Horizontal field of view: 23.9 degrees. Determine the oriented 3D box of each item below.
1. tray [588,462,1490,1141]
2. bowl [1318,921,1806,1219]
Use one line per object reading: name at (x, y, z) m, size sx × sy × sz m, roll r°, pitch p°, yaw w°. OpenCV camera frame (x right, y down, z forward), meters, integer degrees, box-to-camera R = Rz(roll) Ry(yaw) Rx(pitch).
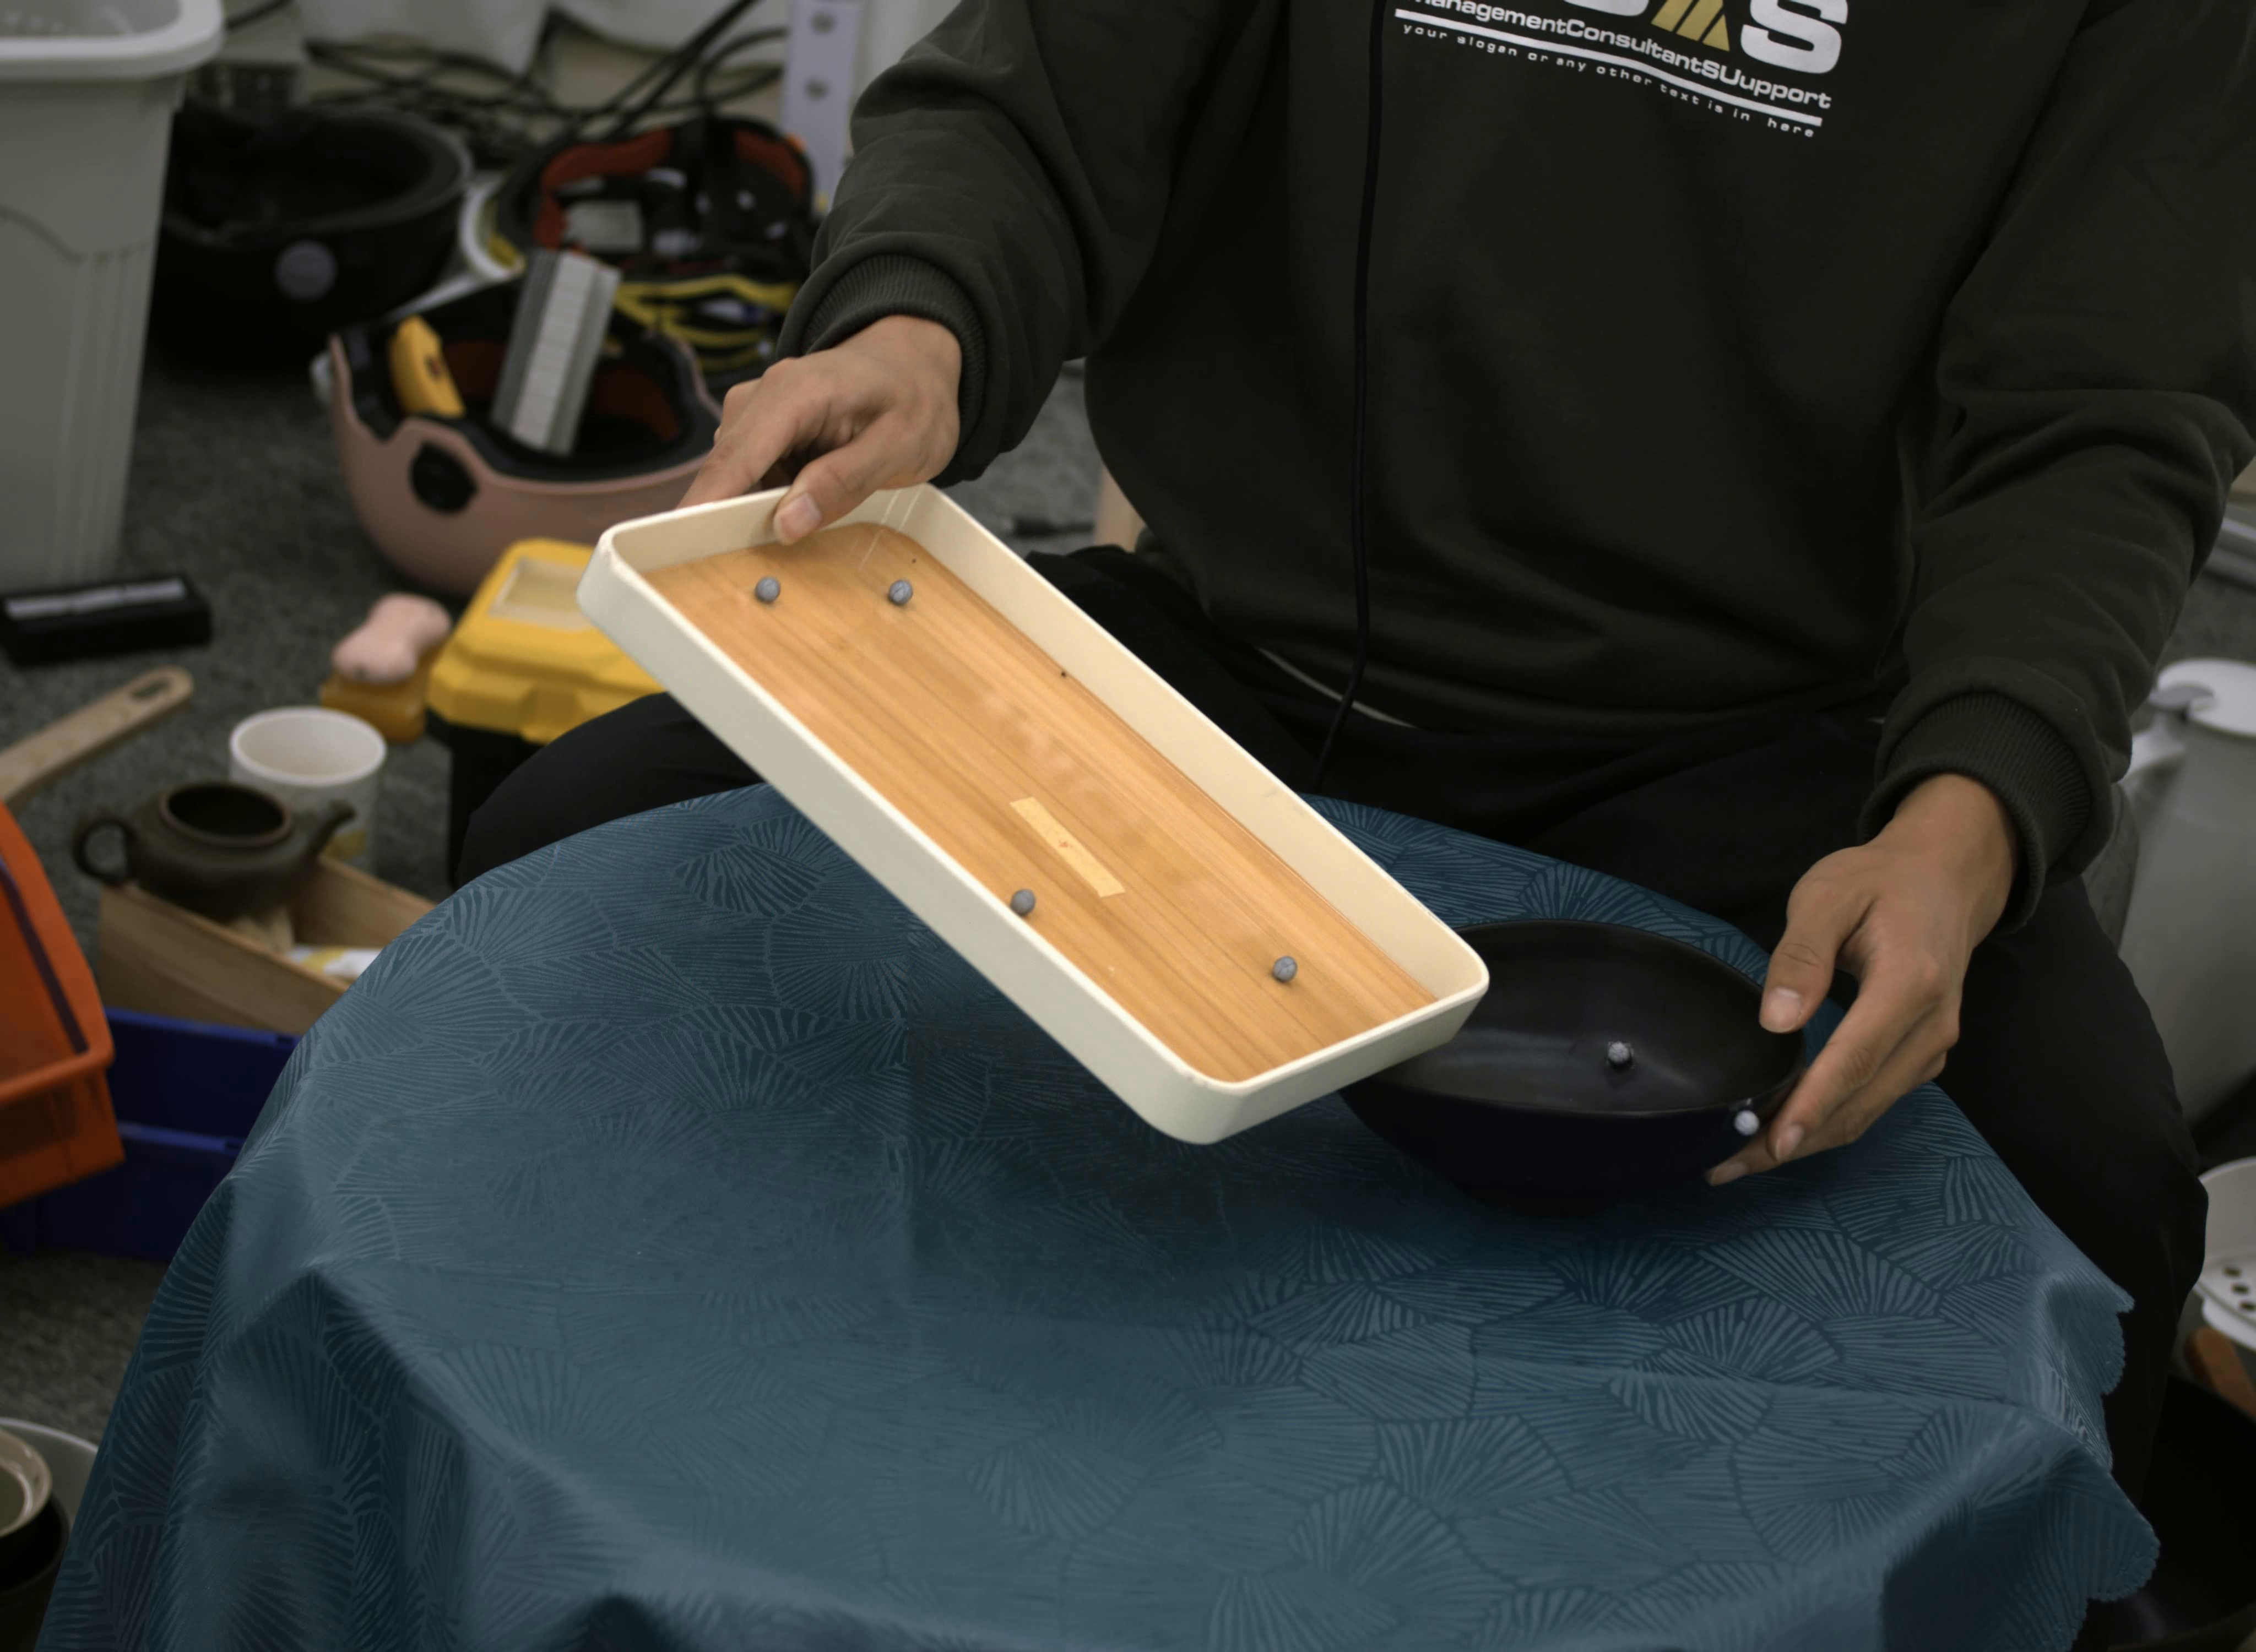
tray at (-0.029, -0.015, 1.813) m, size 0.302 × 0.027 × 0.190 m, roll 42°, pitch 29°, yaw 20°
bowl at (0.147, 0.093, 1.833) m, size 0.170 × 0.066 × 0.138 m, roll 1°, pitch 26°, yaw -2°
